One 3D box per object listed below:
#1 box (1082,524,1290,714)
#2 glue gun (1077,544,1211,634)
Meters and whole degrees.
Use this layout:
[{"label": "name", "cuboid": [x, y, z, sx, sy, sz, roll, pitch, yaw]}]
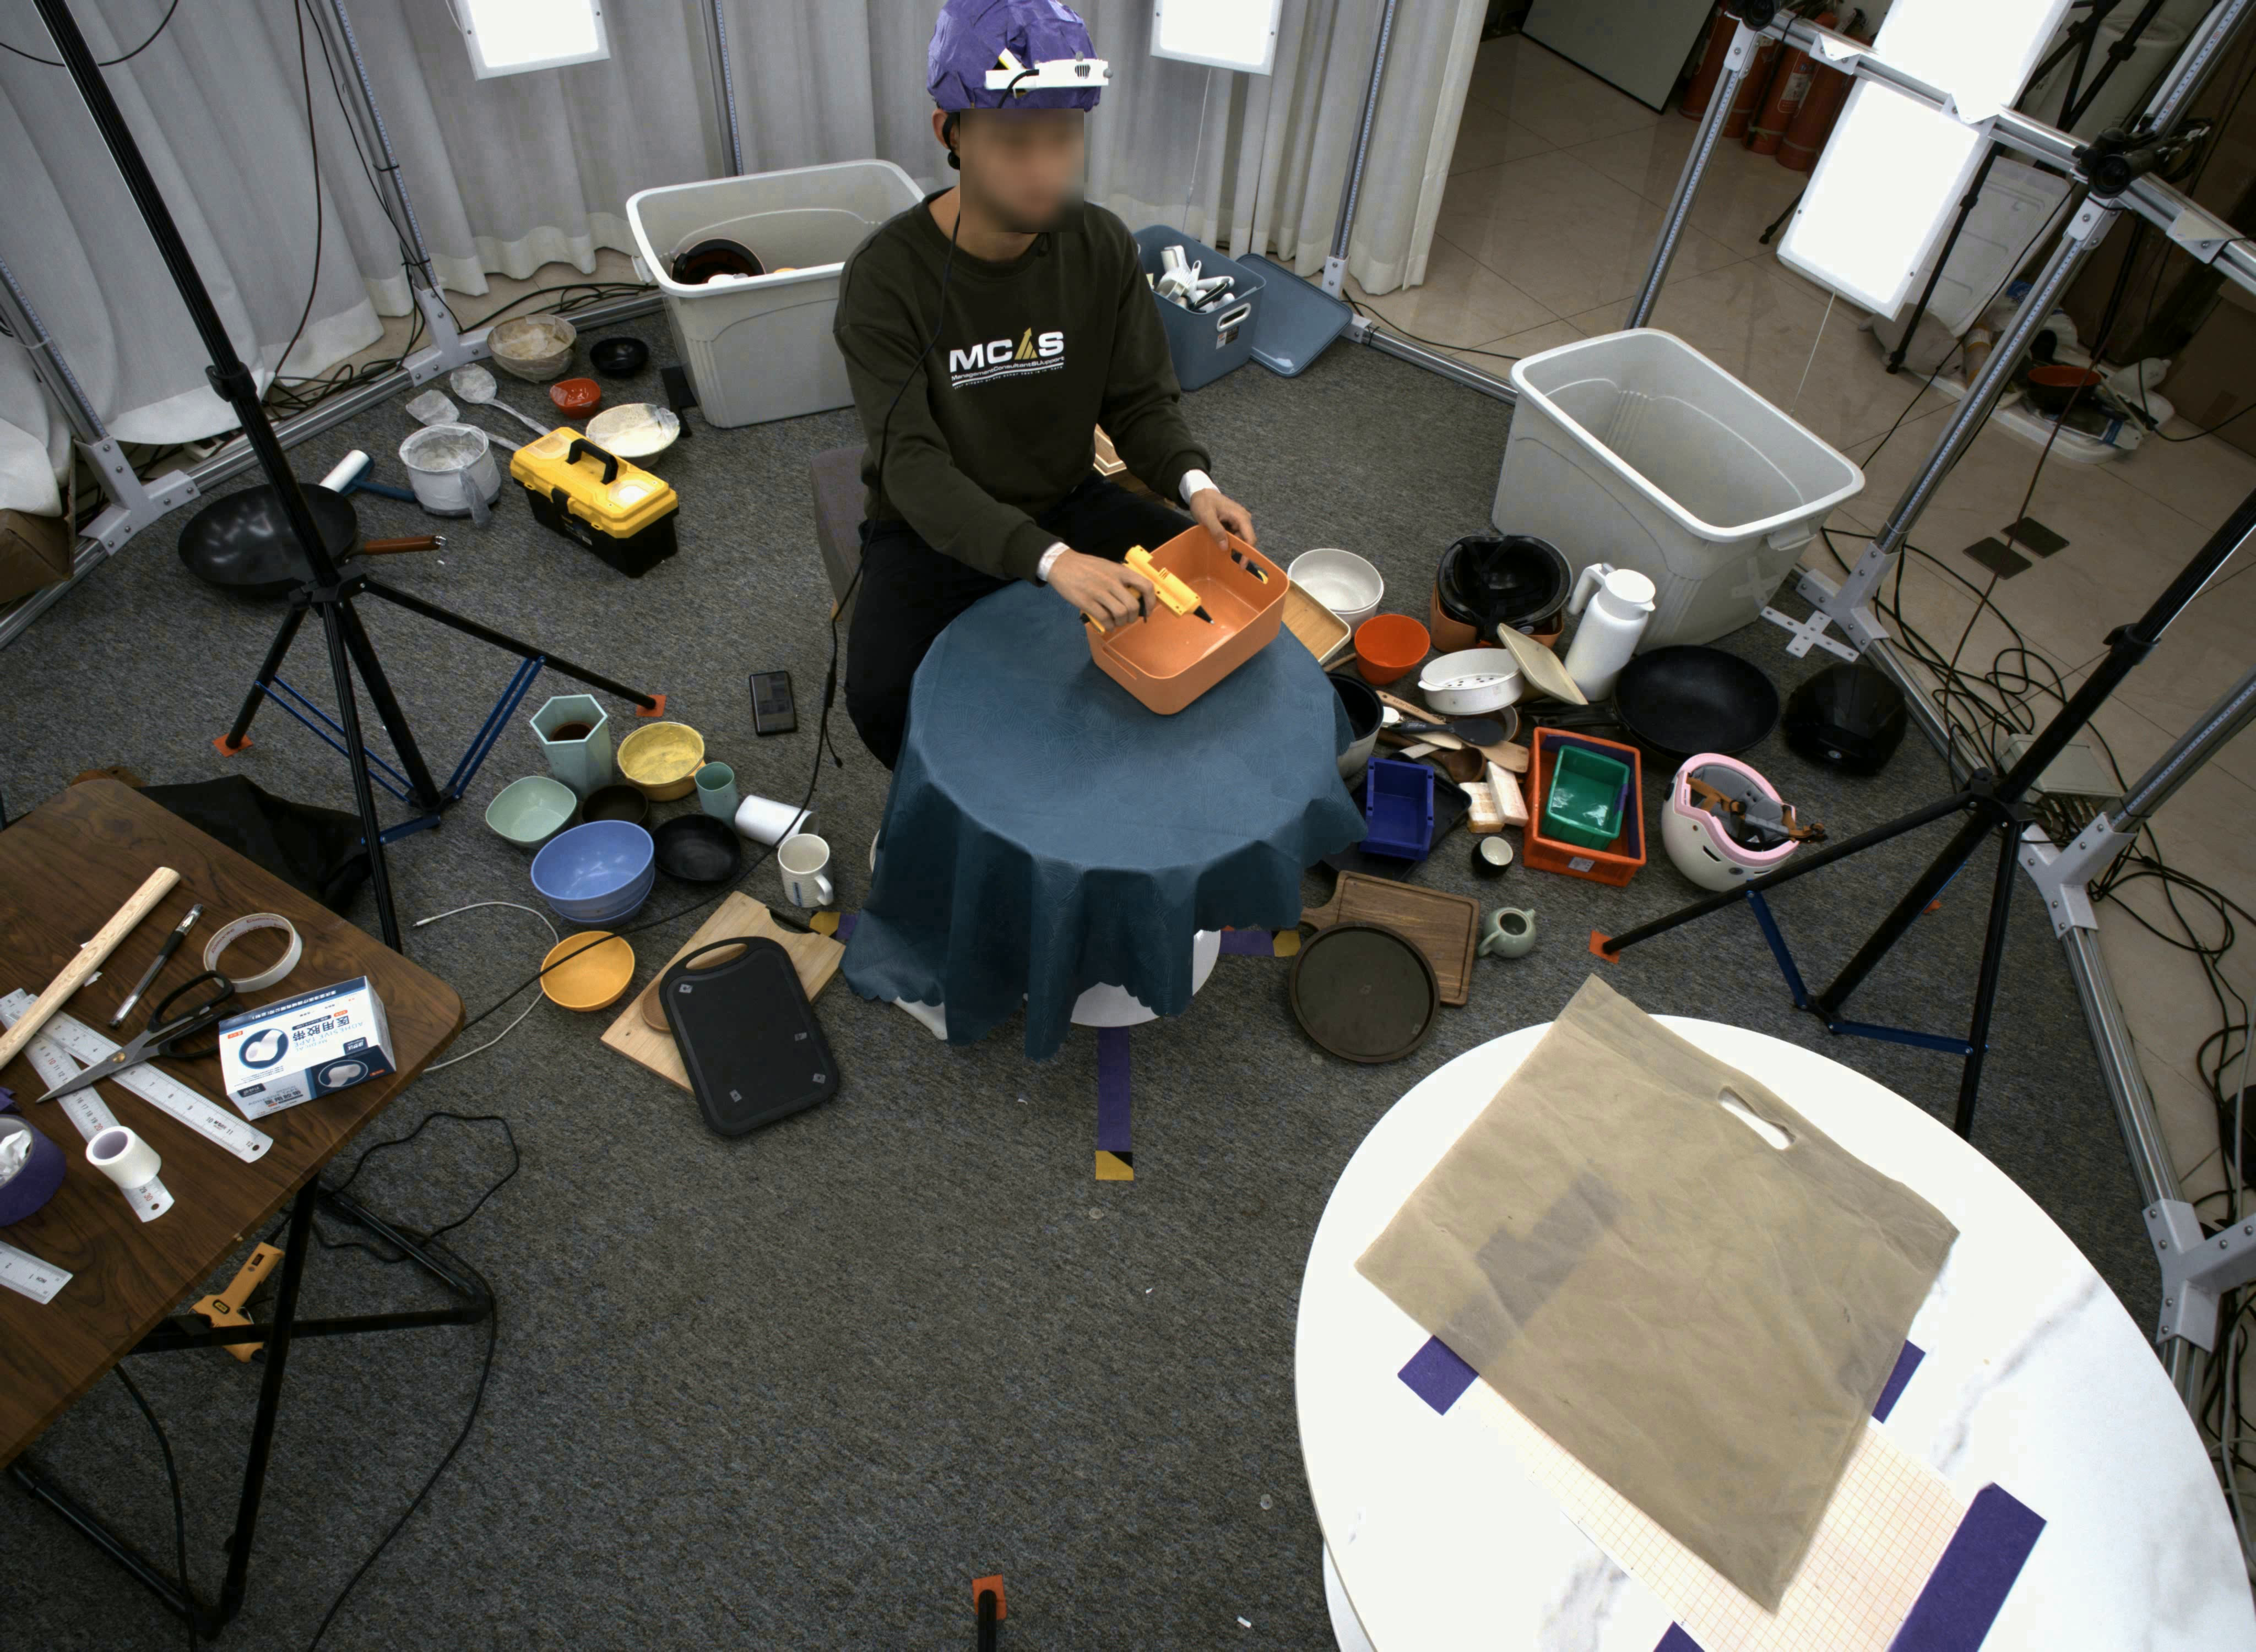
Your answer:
[{"label": "box", "cuboid": [0.083, -0.294, 1.836, 0.275, 0.100, 0.202, -39, 60, -21]}, {"label": "glue gun", "cuboid": [0.028, -0.287, 1.726, 0.151, 0.031, 0.134, 36, 78, 2]}]
